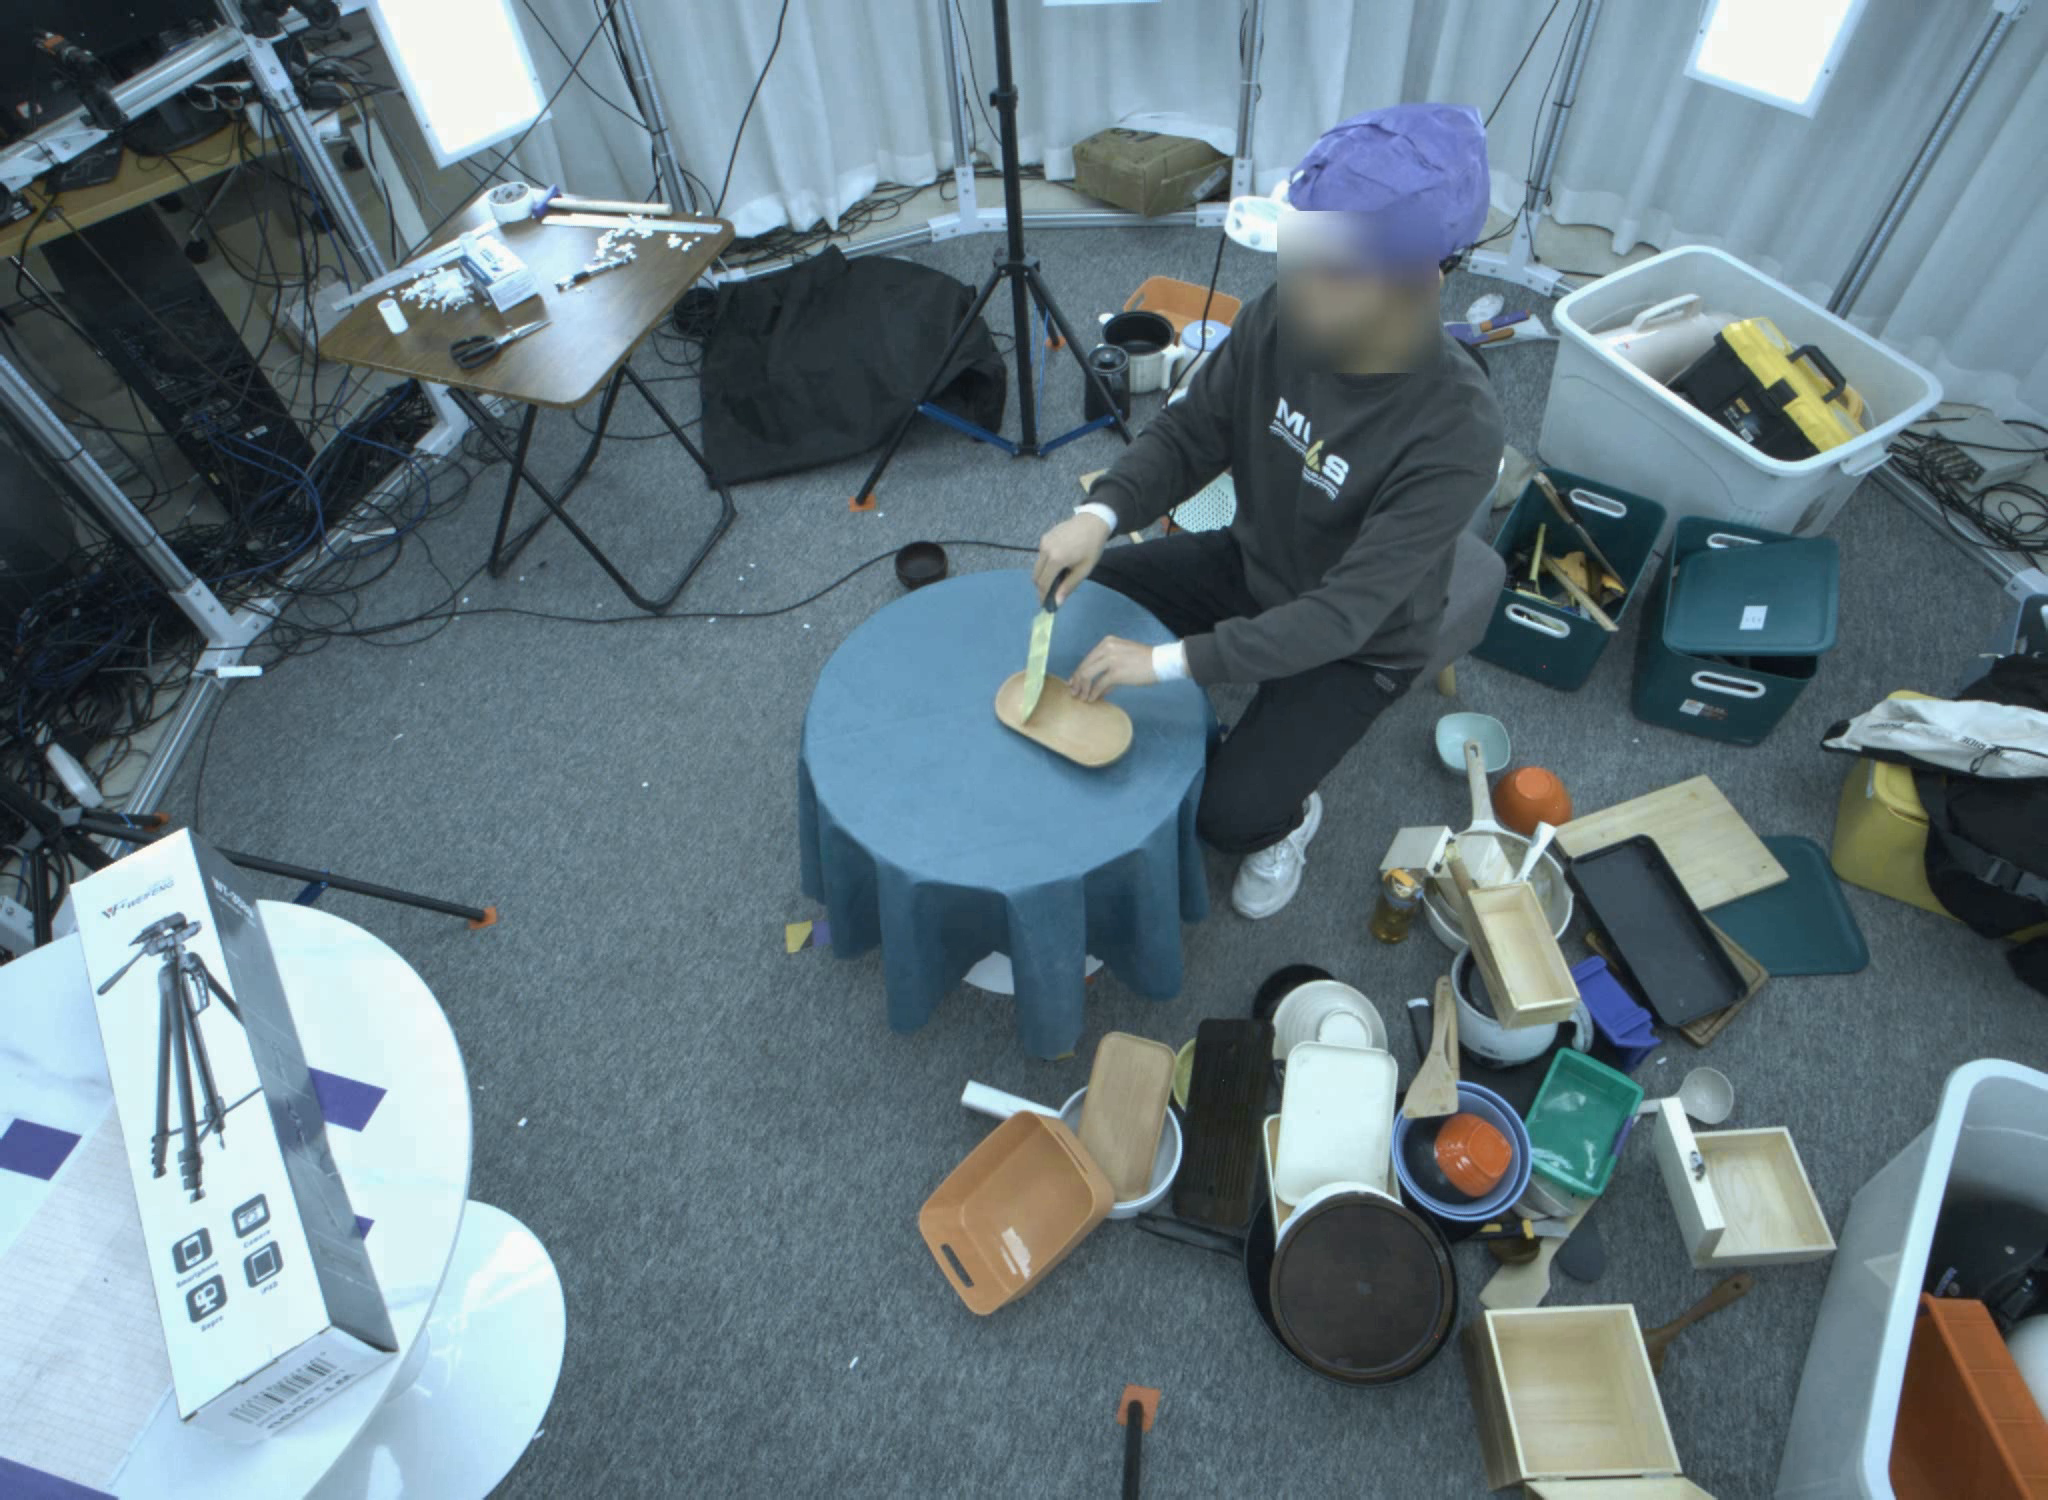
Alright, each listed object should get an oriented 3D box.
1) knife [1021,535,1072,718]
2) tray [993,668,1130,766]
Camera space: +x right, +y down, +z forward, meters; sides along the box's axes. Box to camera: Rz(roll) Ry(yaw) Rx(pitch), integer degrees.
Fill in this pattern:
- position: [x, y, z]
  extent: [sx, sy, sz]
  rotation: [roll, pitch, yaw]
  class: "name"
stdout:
- position: [0.030, -0.184, 1.821]
  extent: [0.028, 0.080, 0.288]
  rotation: [18, 76, -23]
  class: "knife"
- position: [0.053, -0.048, 1.794]
  extent: [0.226, 0.021, 0.102]
  rotation: [27, 73, 30]
  class: "tray"
